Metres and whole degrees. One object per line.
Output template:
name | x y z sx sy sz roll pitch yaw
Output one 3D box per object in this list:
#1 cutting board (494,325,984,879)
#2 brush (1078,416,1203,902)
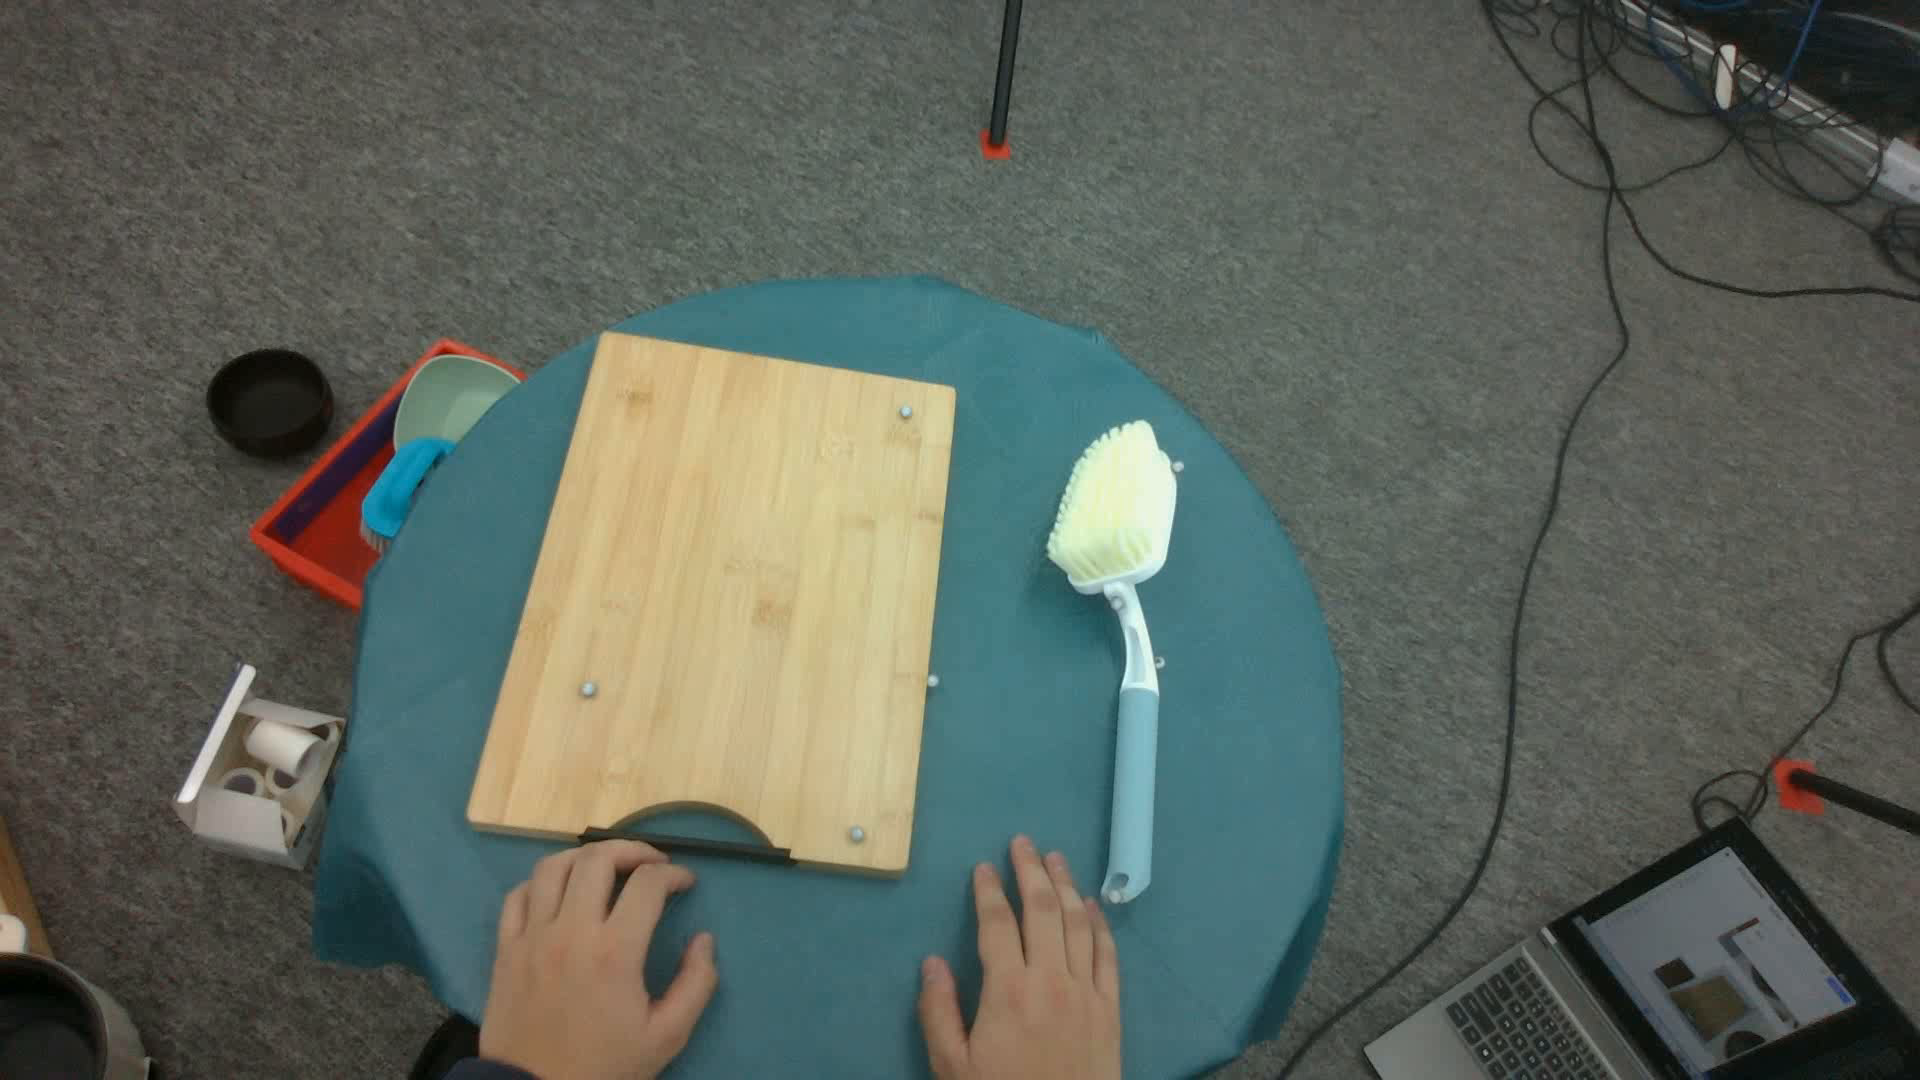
cutting board | -0.121 0.025 0.856 0.251 0.023 0.350 7 60 -4
brush | 0.110 0.052 0.839 0.084 0.082 0.327 15 58 -10
